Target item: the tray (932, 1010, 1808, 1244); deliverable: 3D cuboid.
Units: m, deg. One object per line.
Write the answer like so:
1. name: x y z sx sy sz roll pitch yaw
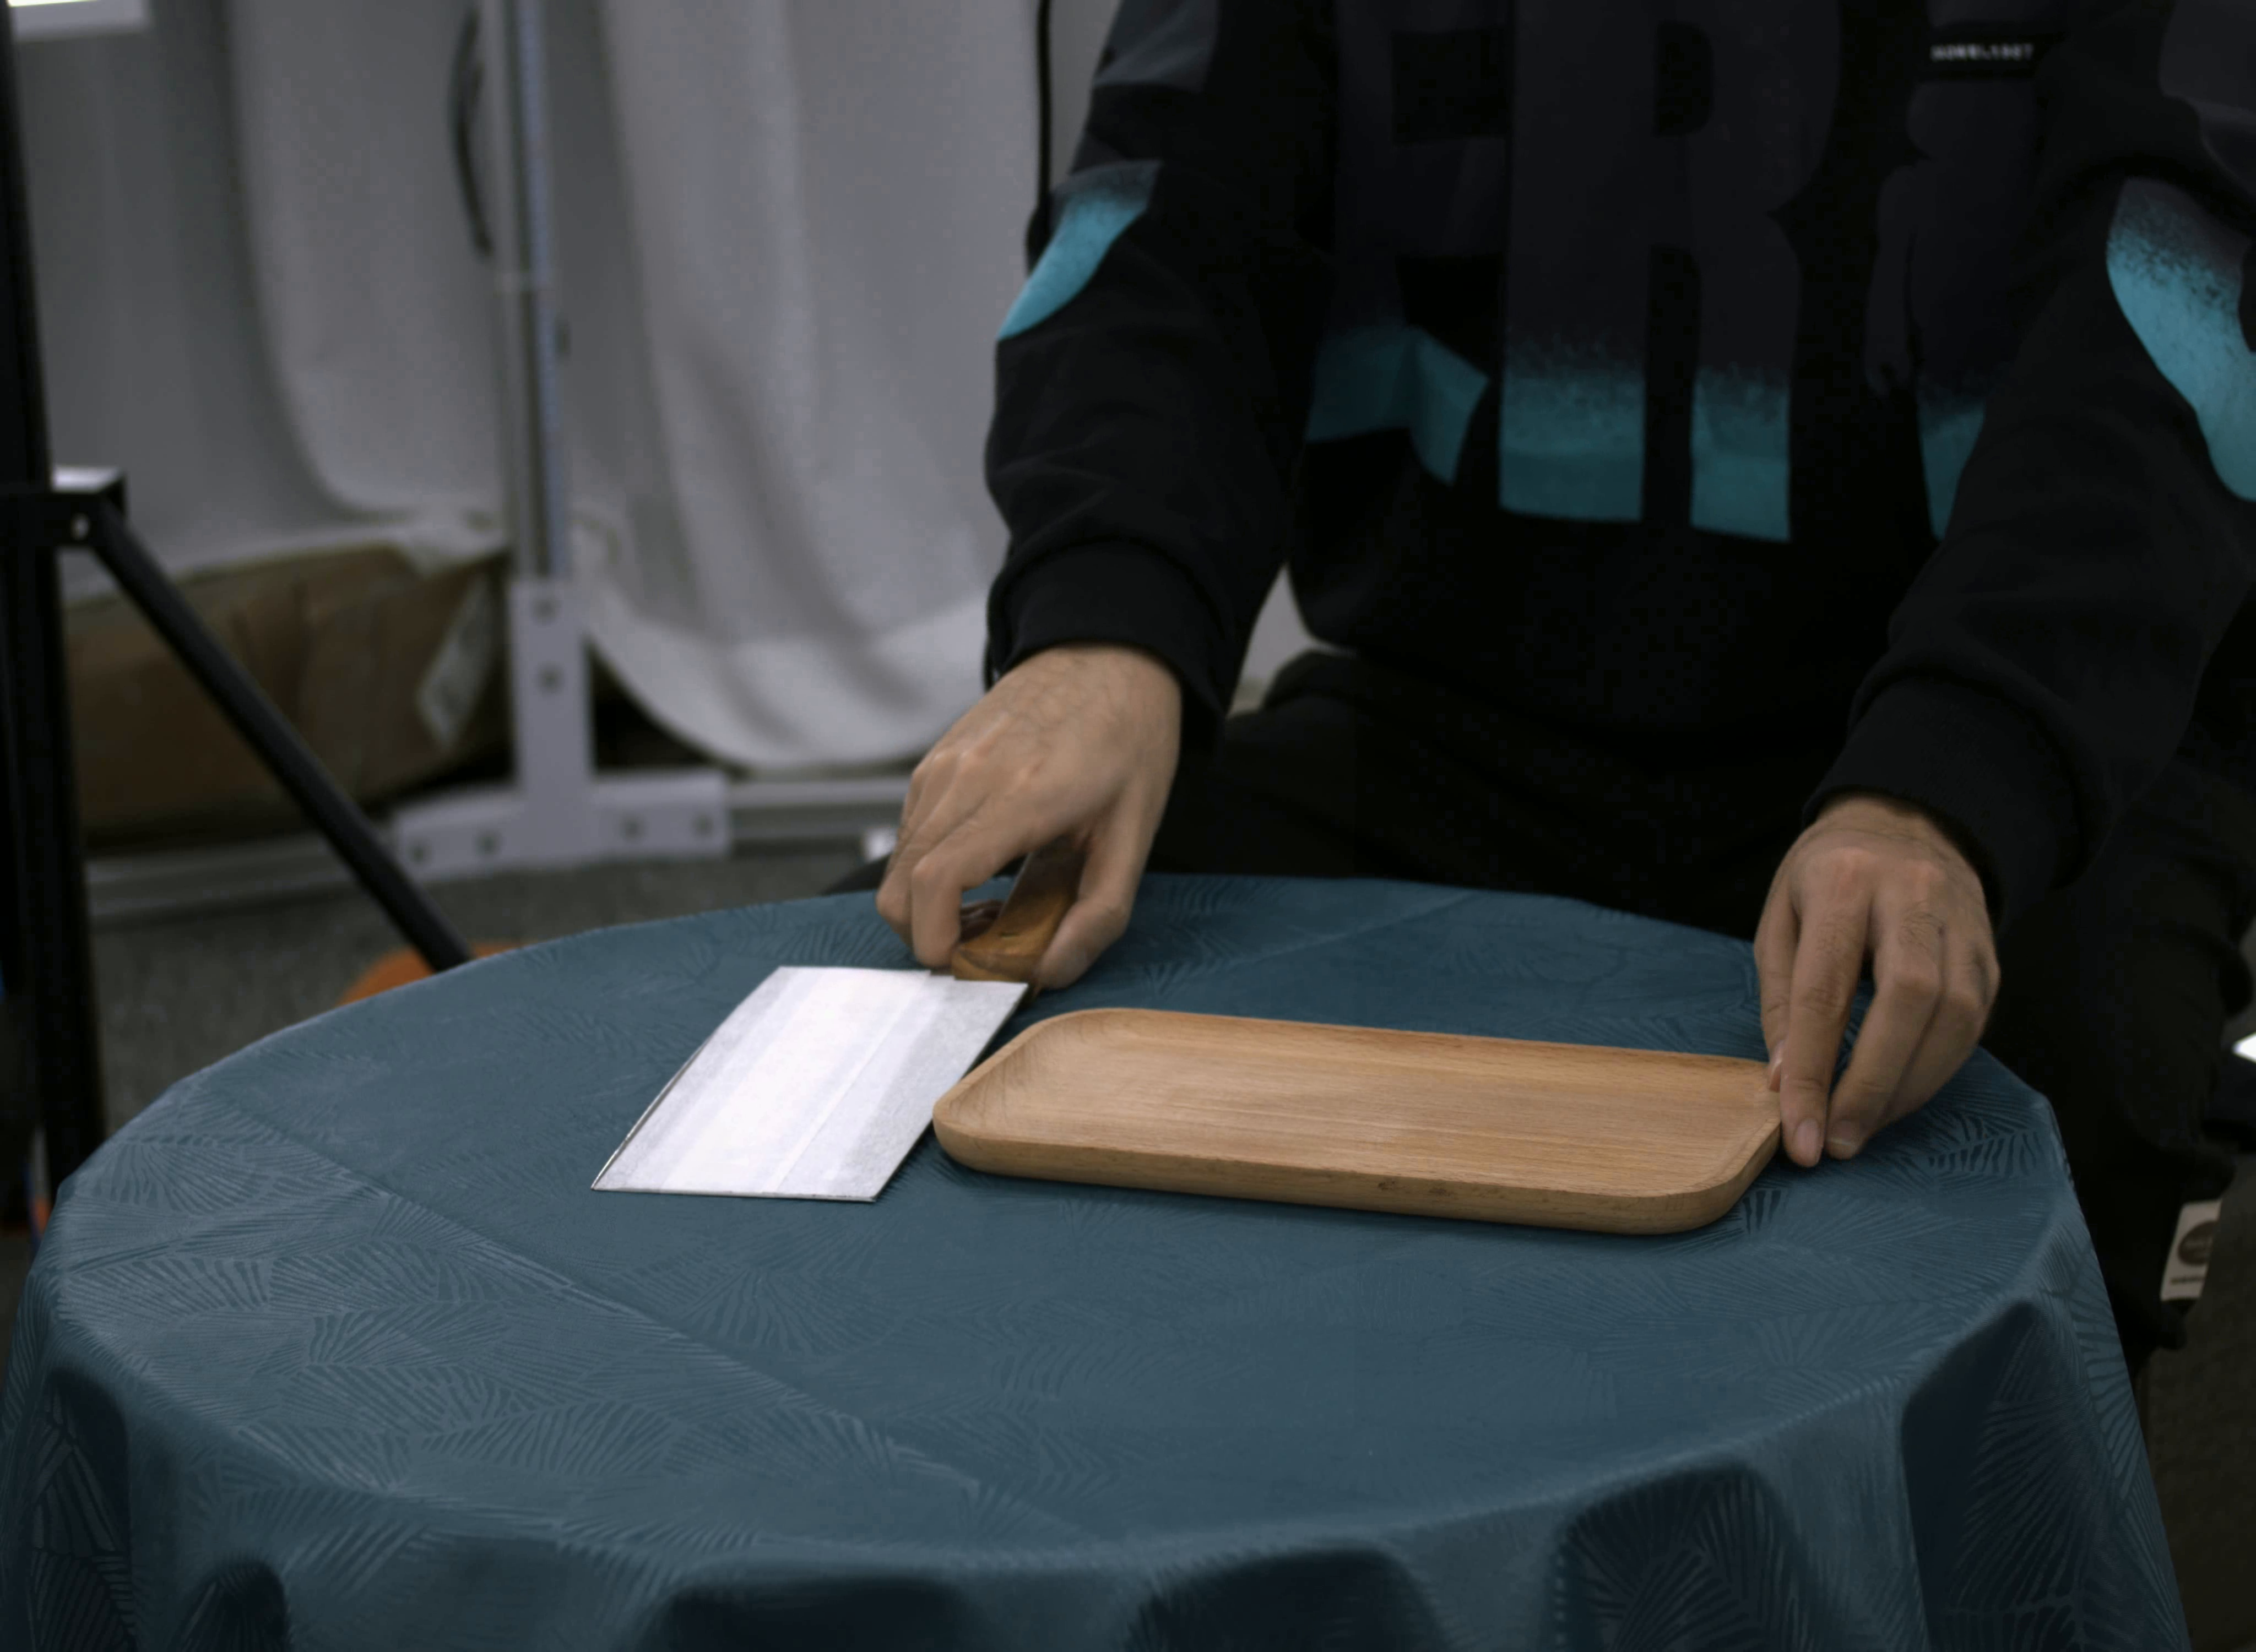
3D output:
1. tray: 0.072 0.089 1.585 0.254 0.023 0.129 6 20 24

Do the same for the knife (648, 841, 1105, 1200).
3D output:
1. knife: -0.079 0.061 1.709 0.093 0.021 0.304 0 19 15
